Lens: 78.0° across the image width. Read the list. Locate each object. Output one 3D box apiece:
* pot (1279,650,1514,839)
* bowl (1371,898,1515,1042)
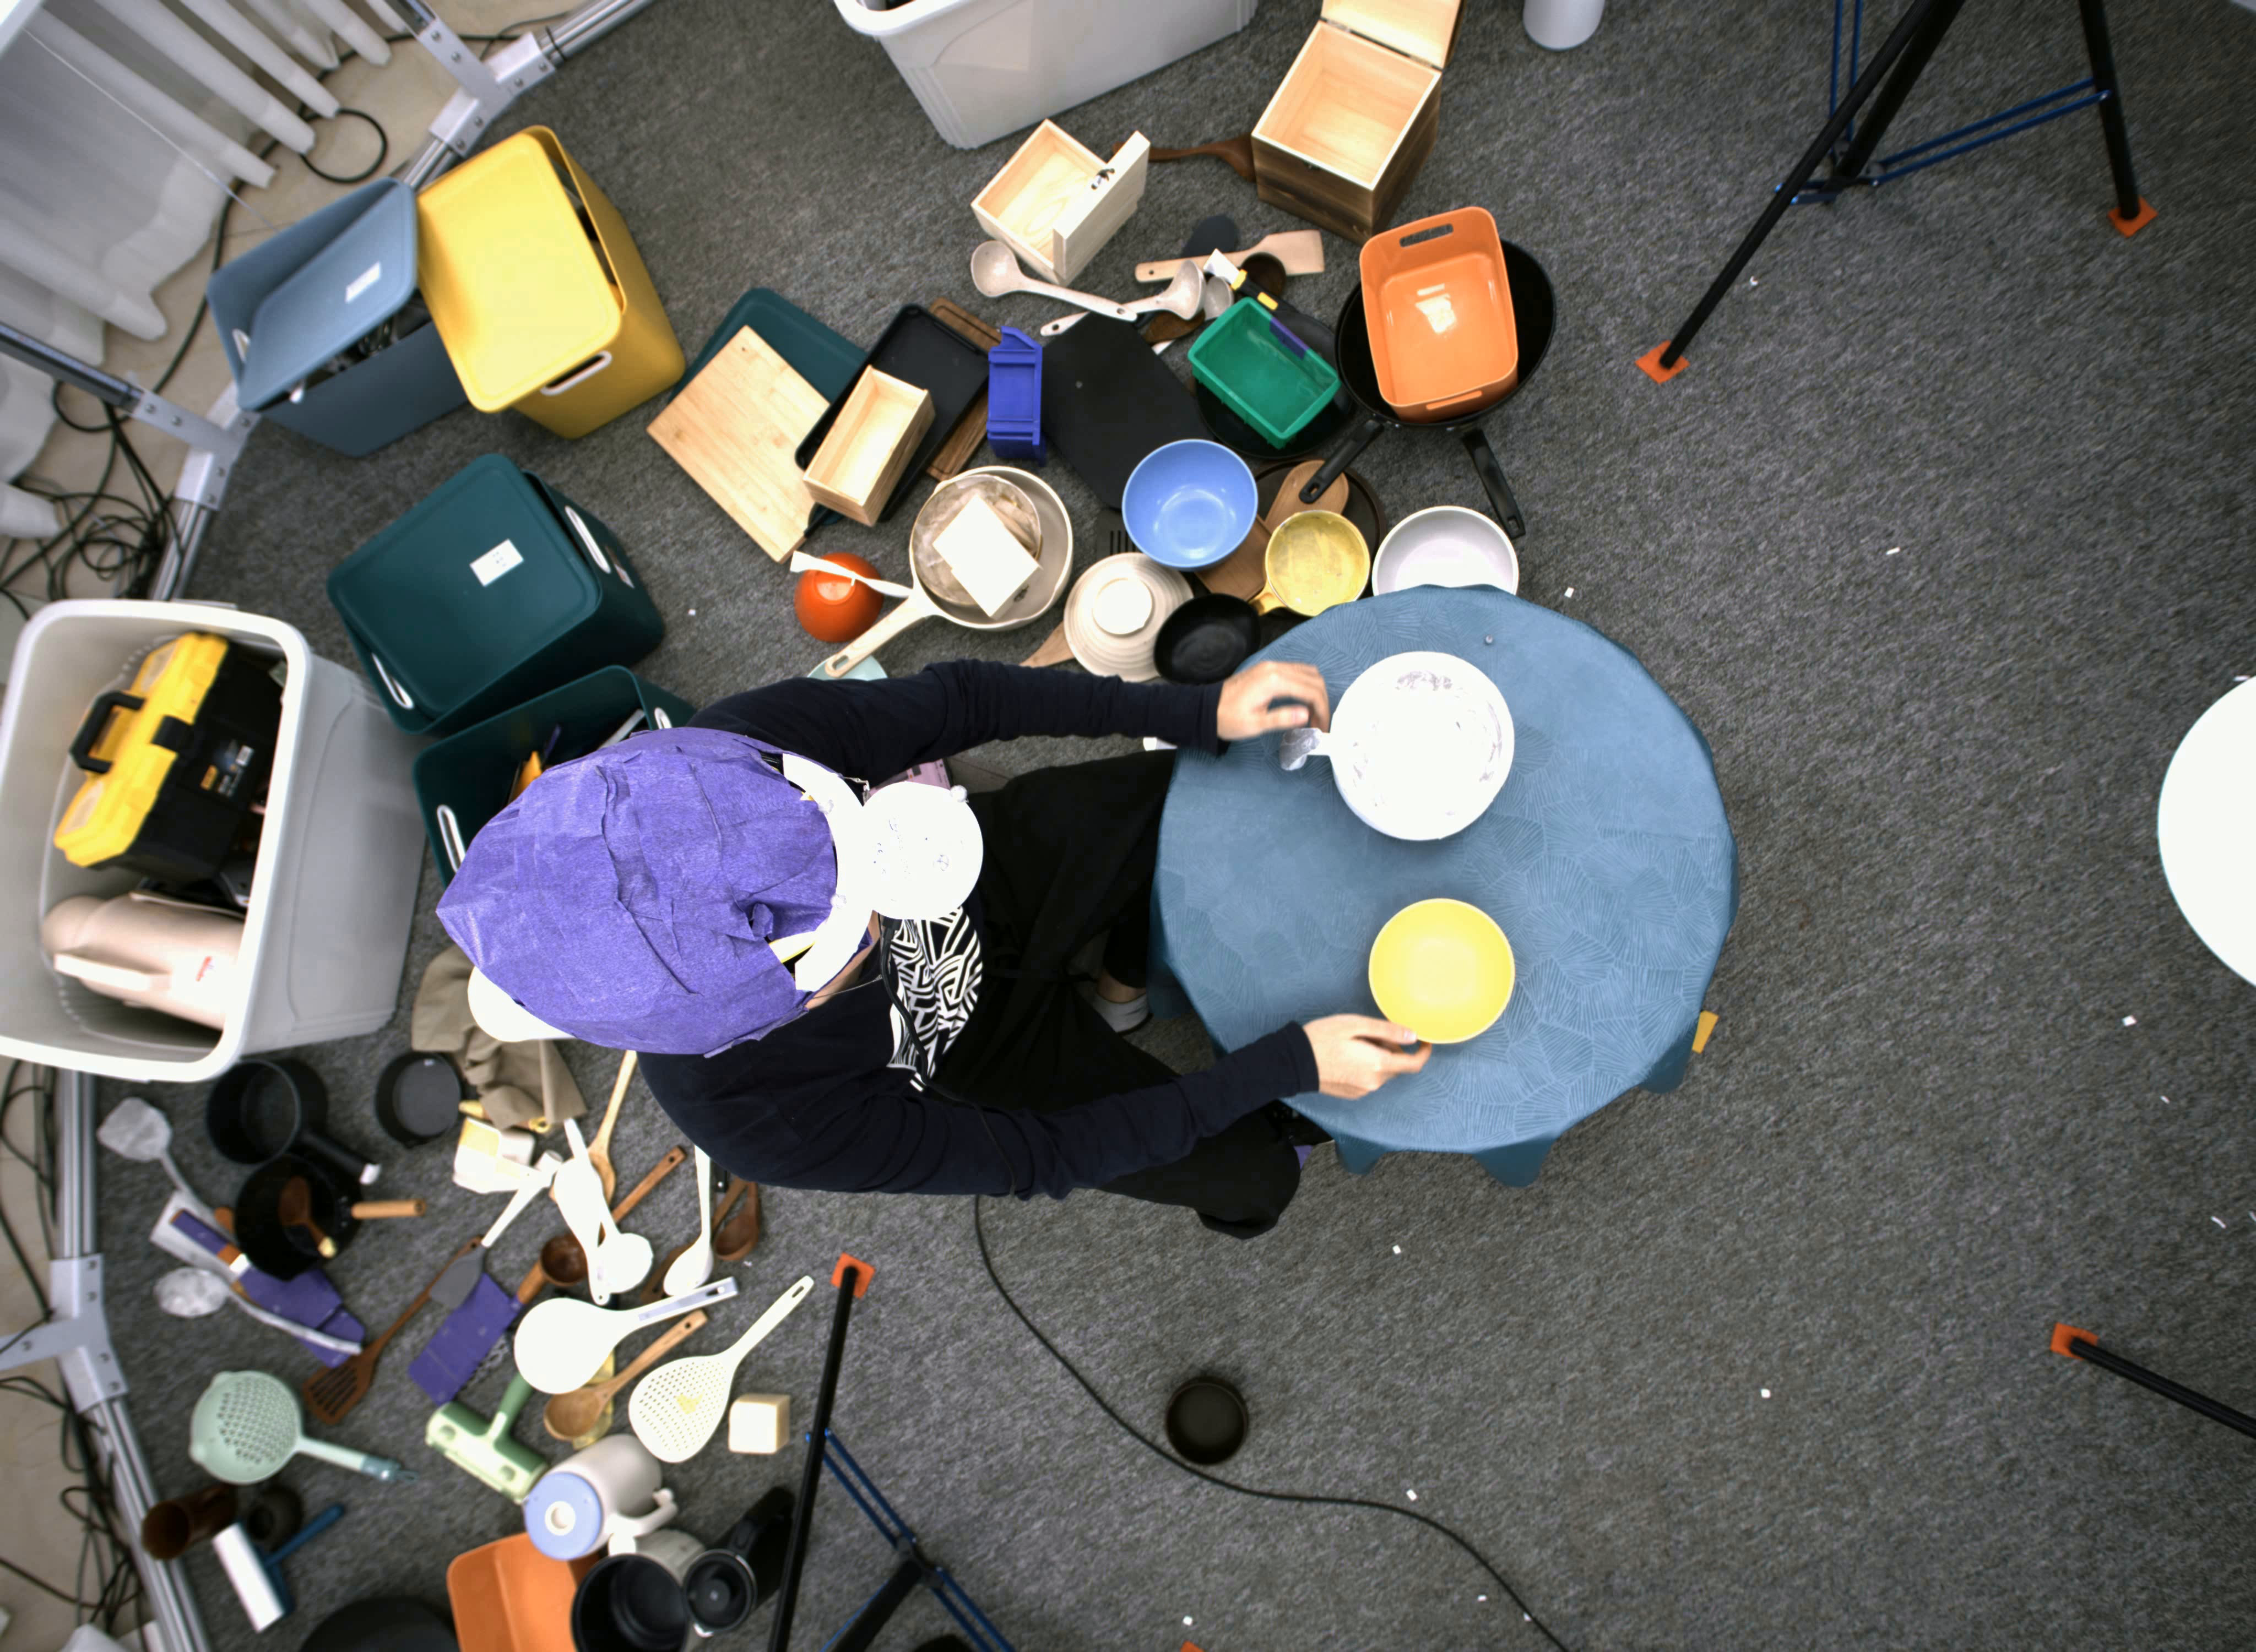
[{"bbox_3d":[0.268,-0.079,1.401,0.234,0.137,0.178,1,86,12],"label":"pot"},{"bbox_3d":[0.322,0.145,1.415,0.146,0.060,0.145,-1,88,13],"label":"bowl"}]
